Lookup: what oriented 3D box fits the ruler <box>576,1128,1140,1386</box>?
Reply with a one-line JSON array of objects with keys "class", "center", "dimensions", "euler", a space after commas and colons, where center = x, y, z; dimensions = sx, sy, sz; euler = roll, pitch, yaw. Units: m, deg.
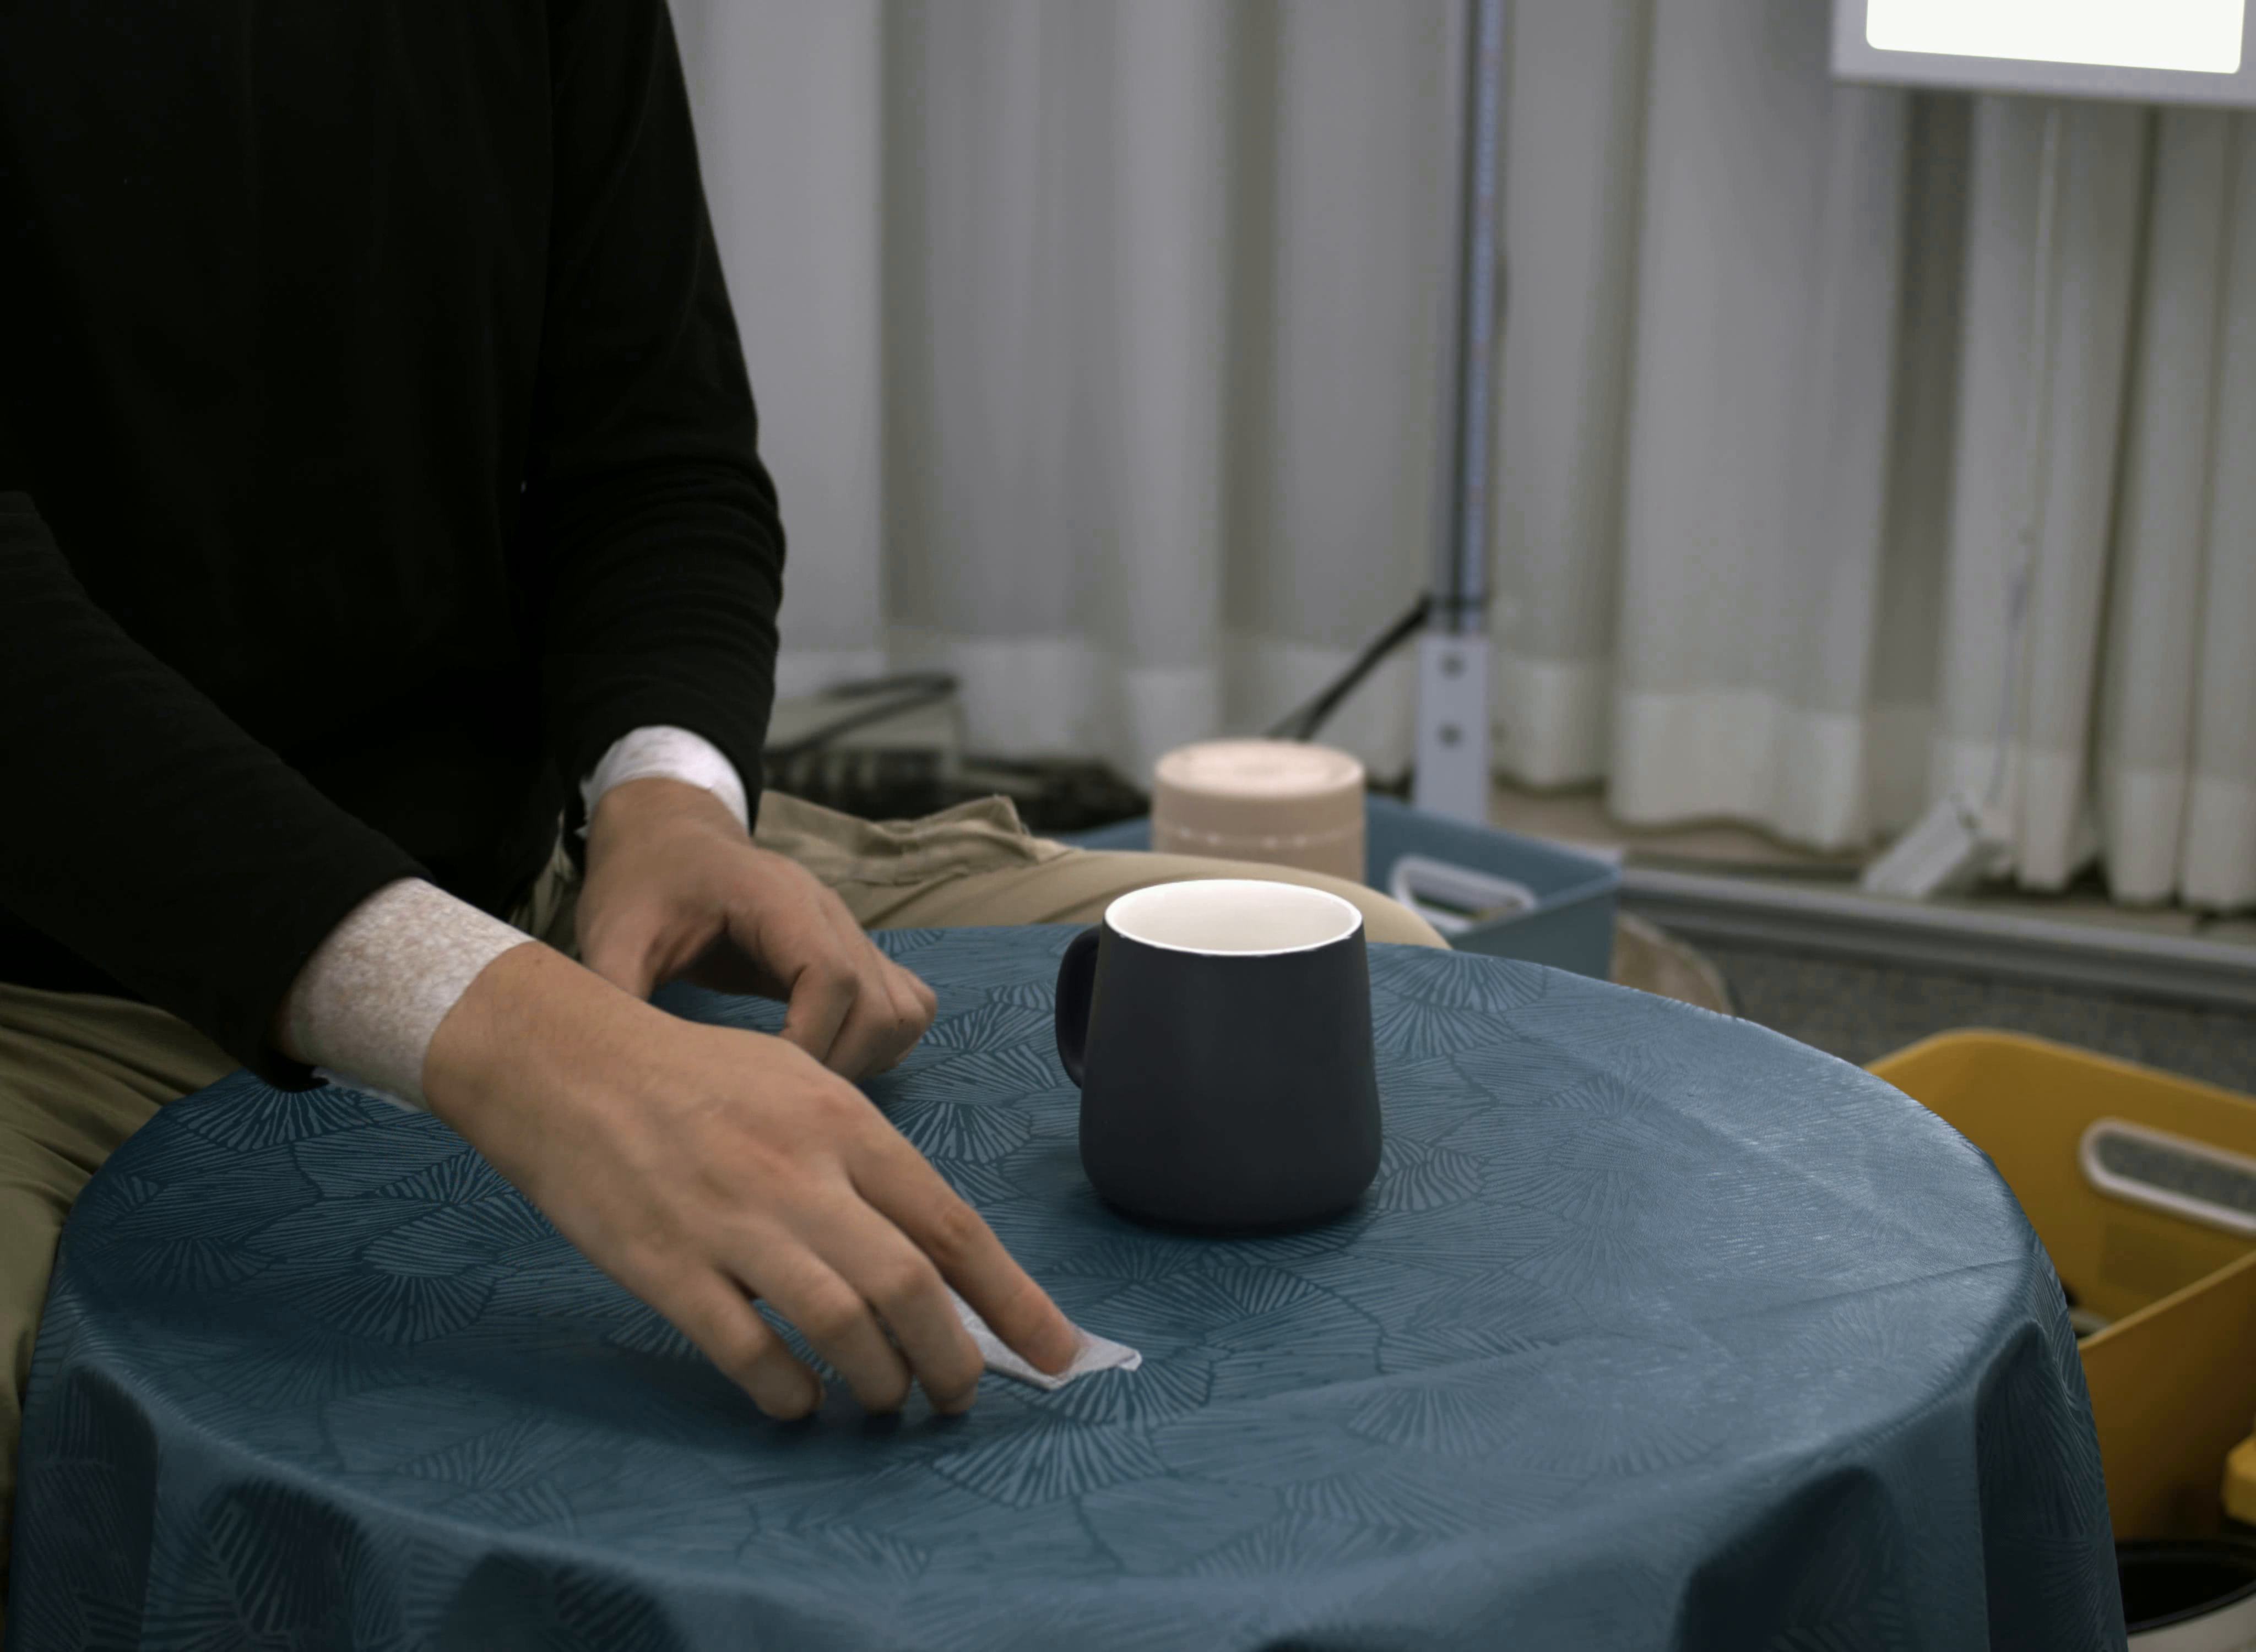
[{"class": "ruler", "center": [-0.086, 0.123, 1.537], "dimensions": [0.215, 0.024, 0.038], "euler": [13, 26, 42]}]

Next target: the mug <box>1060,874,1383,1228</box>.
[{"class": "mug", "center": [0.023, 0.065, 1.616], "dimensions": [0.094, 0.090, 0.121], "euler": [-12, 21, -39]}]
